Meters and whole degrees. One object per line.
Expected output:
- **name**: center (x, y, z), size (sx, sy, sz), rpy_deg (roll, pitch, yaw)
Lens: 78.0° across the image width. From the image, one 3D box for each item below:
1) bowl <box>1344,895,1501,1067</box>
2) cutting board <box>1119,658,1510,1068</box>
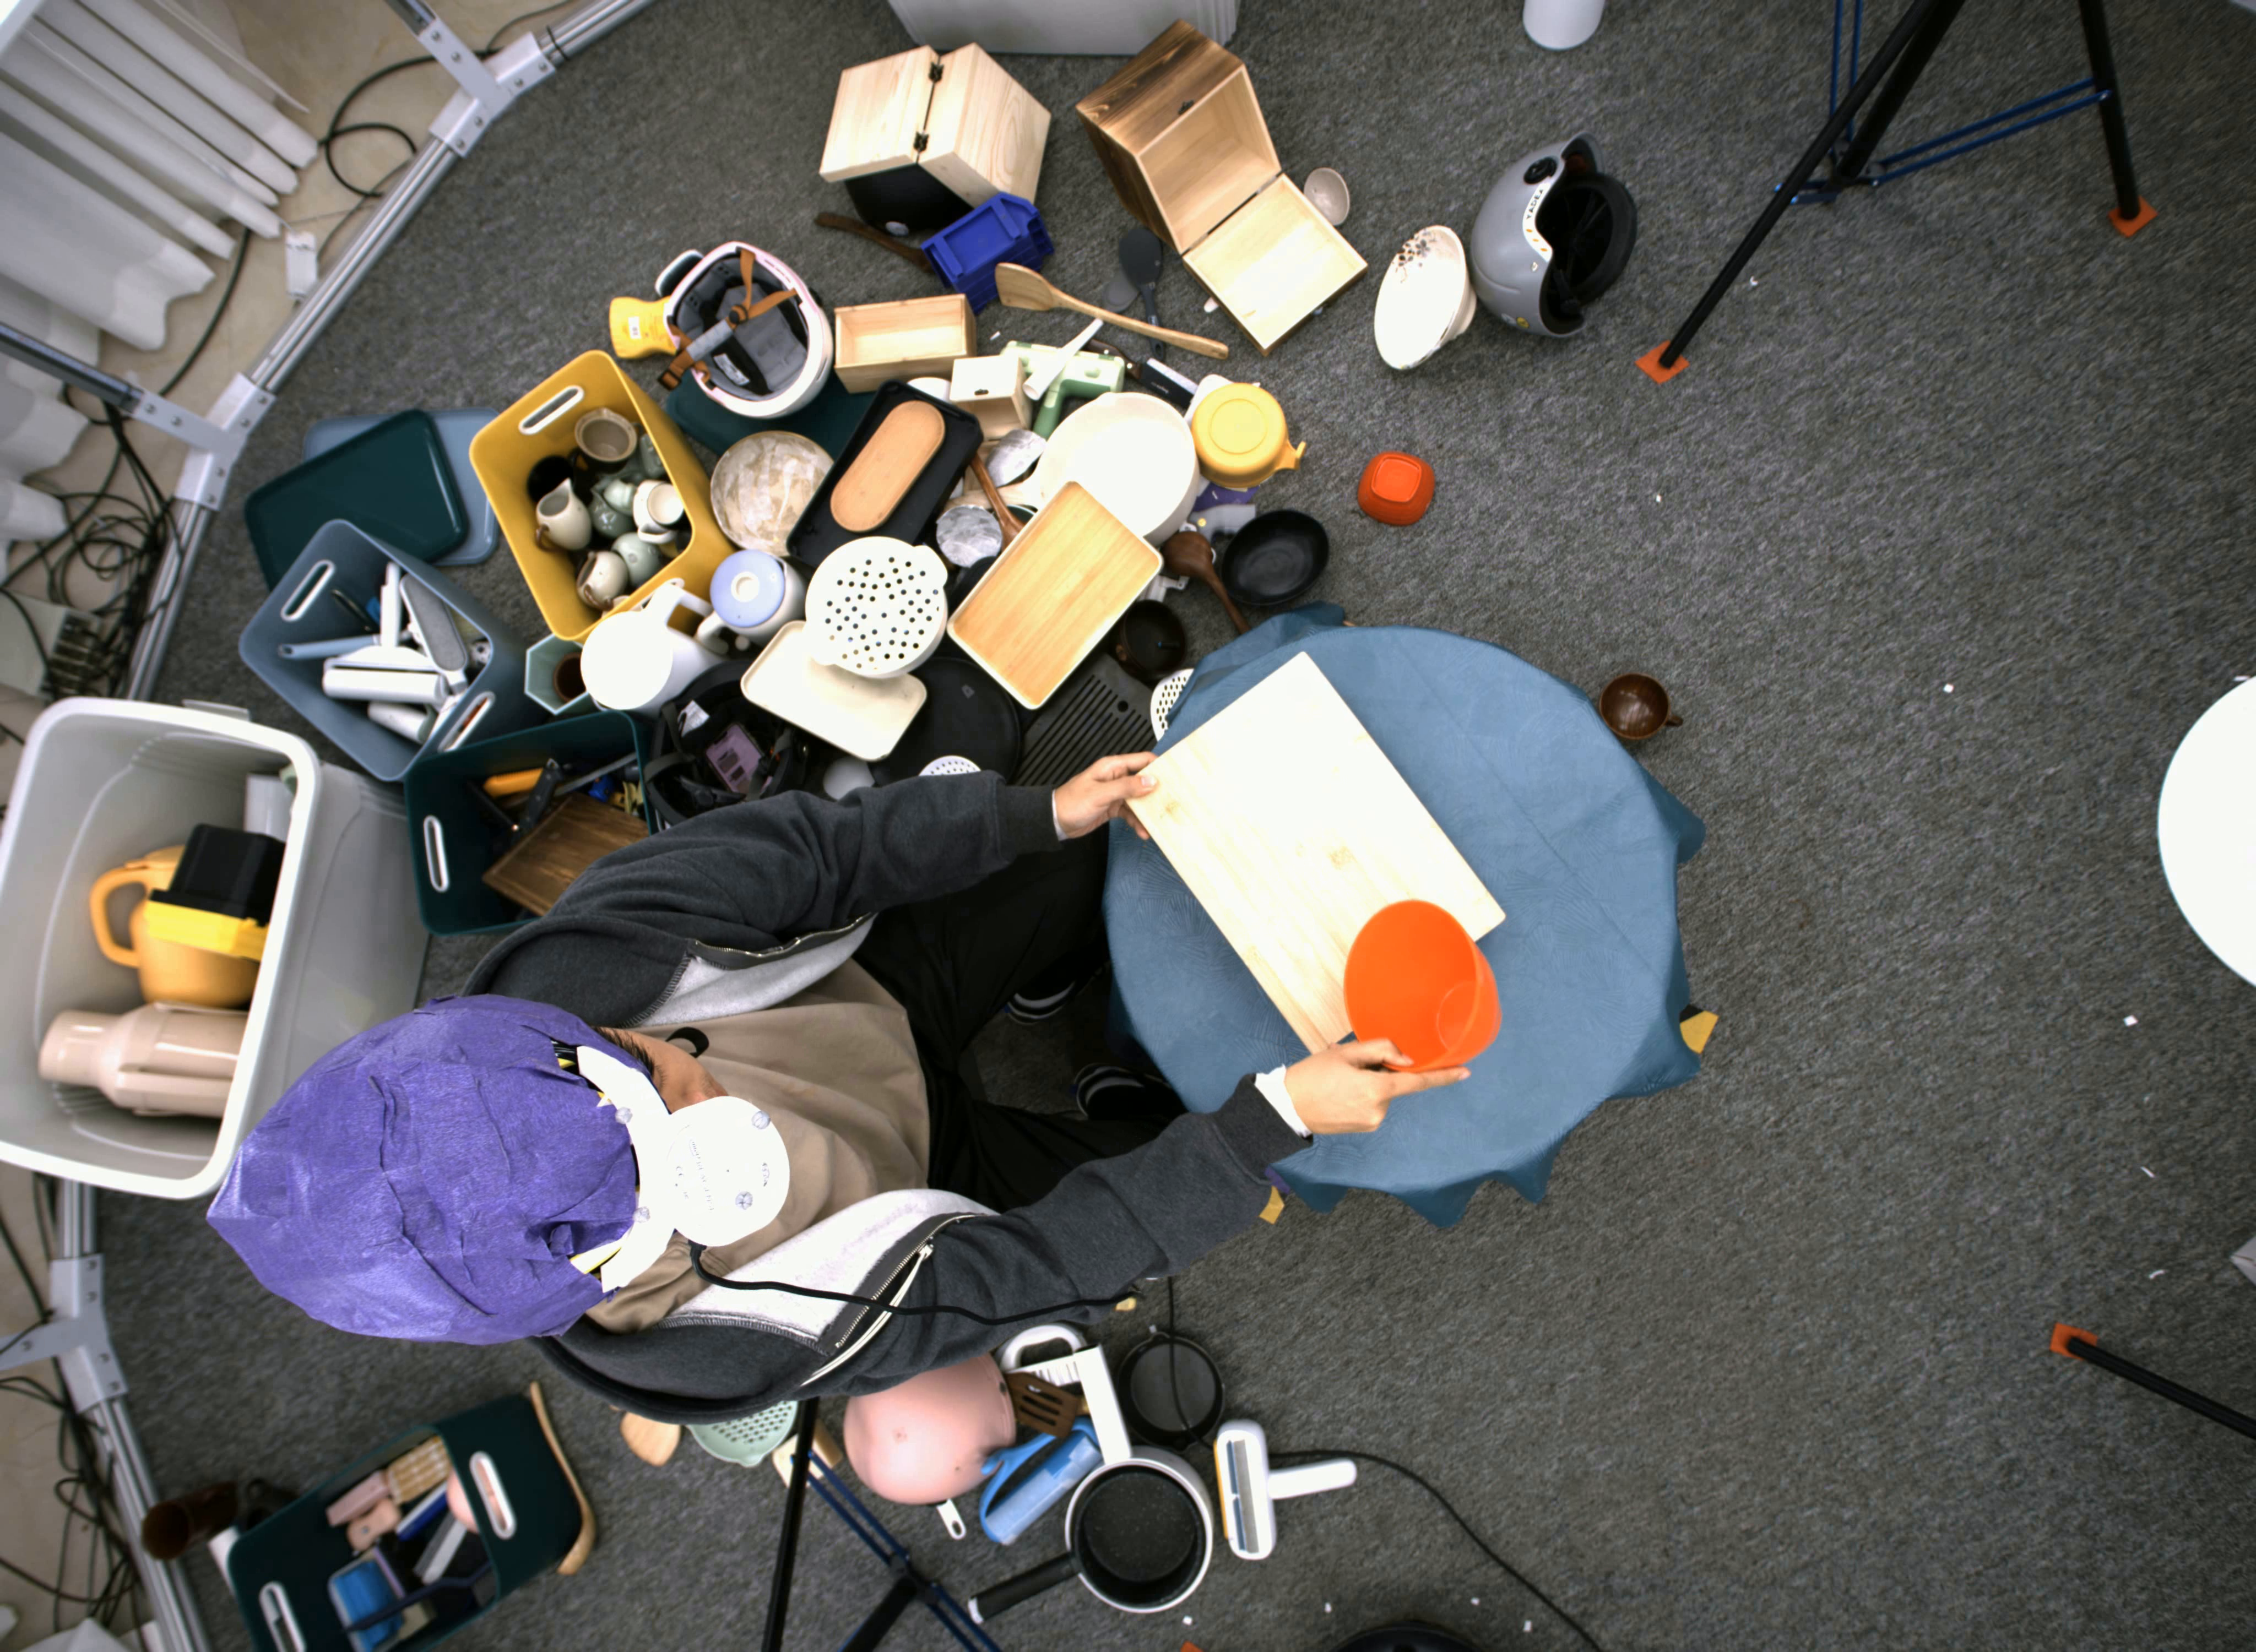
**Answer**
- **bowl**: center (0.274, 0.146, 1.223), size (0.151, 0.105, 0.144), rpy_deg (-29, 51, 42)
- **cutting board**: center (0.188, 0.033, 1.406), size (0.251, 0.023, 0.347), rpy_deg (-37, 85, 4)
